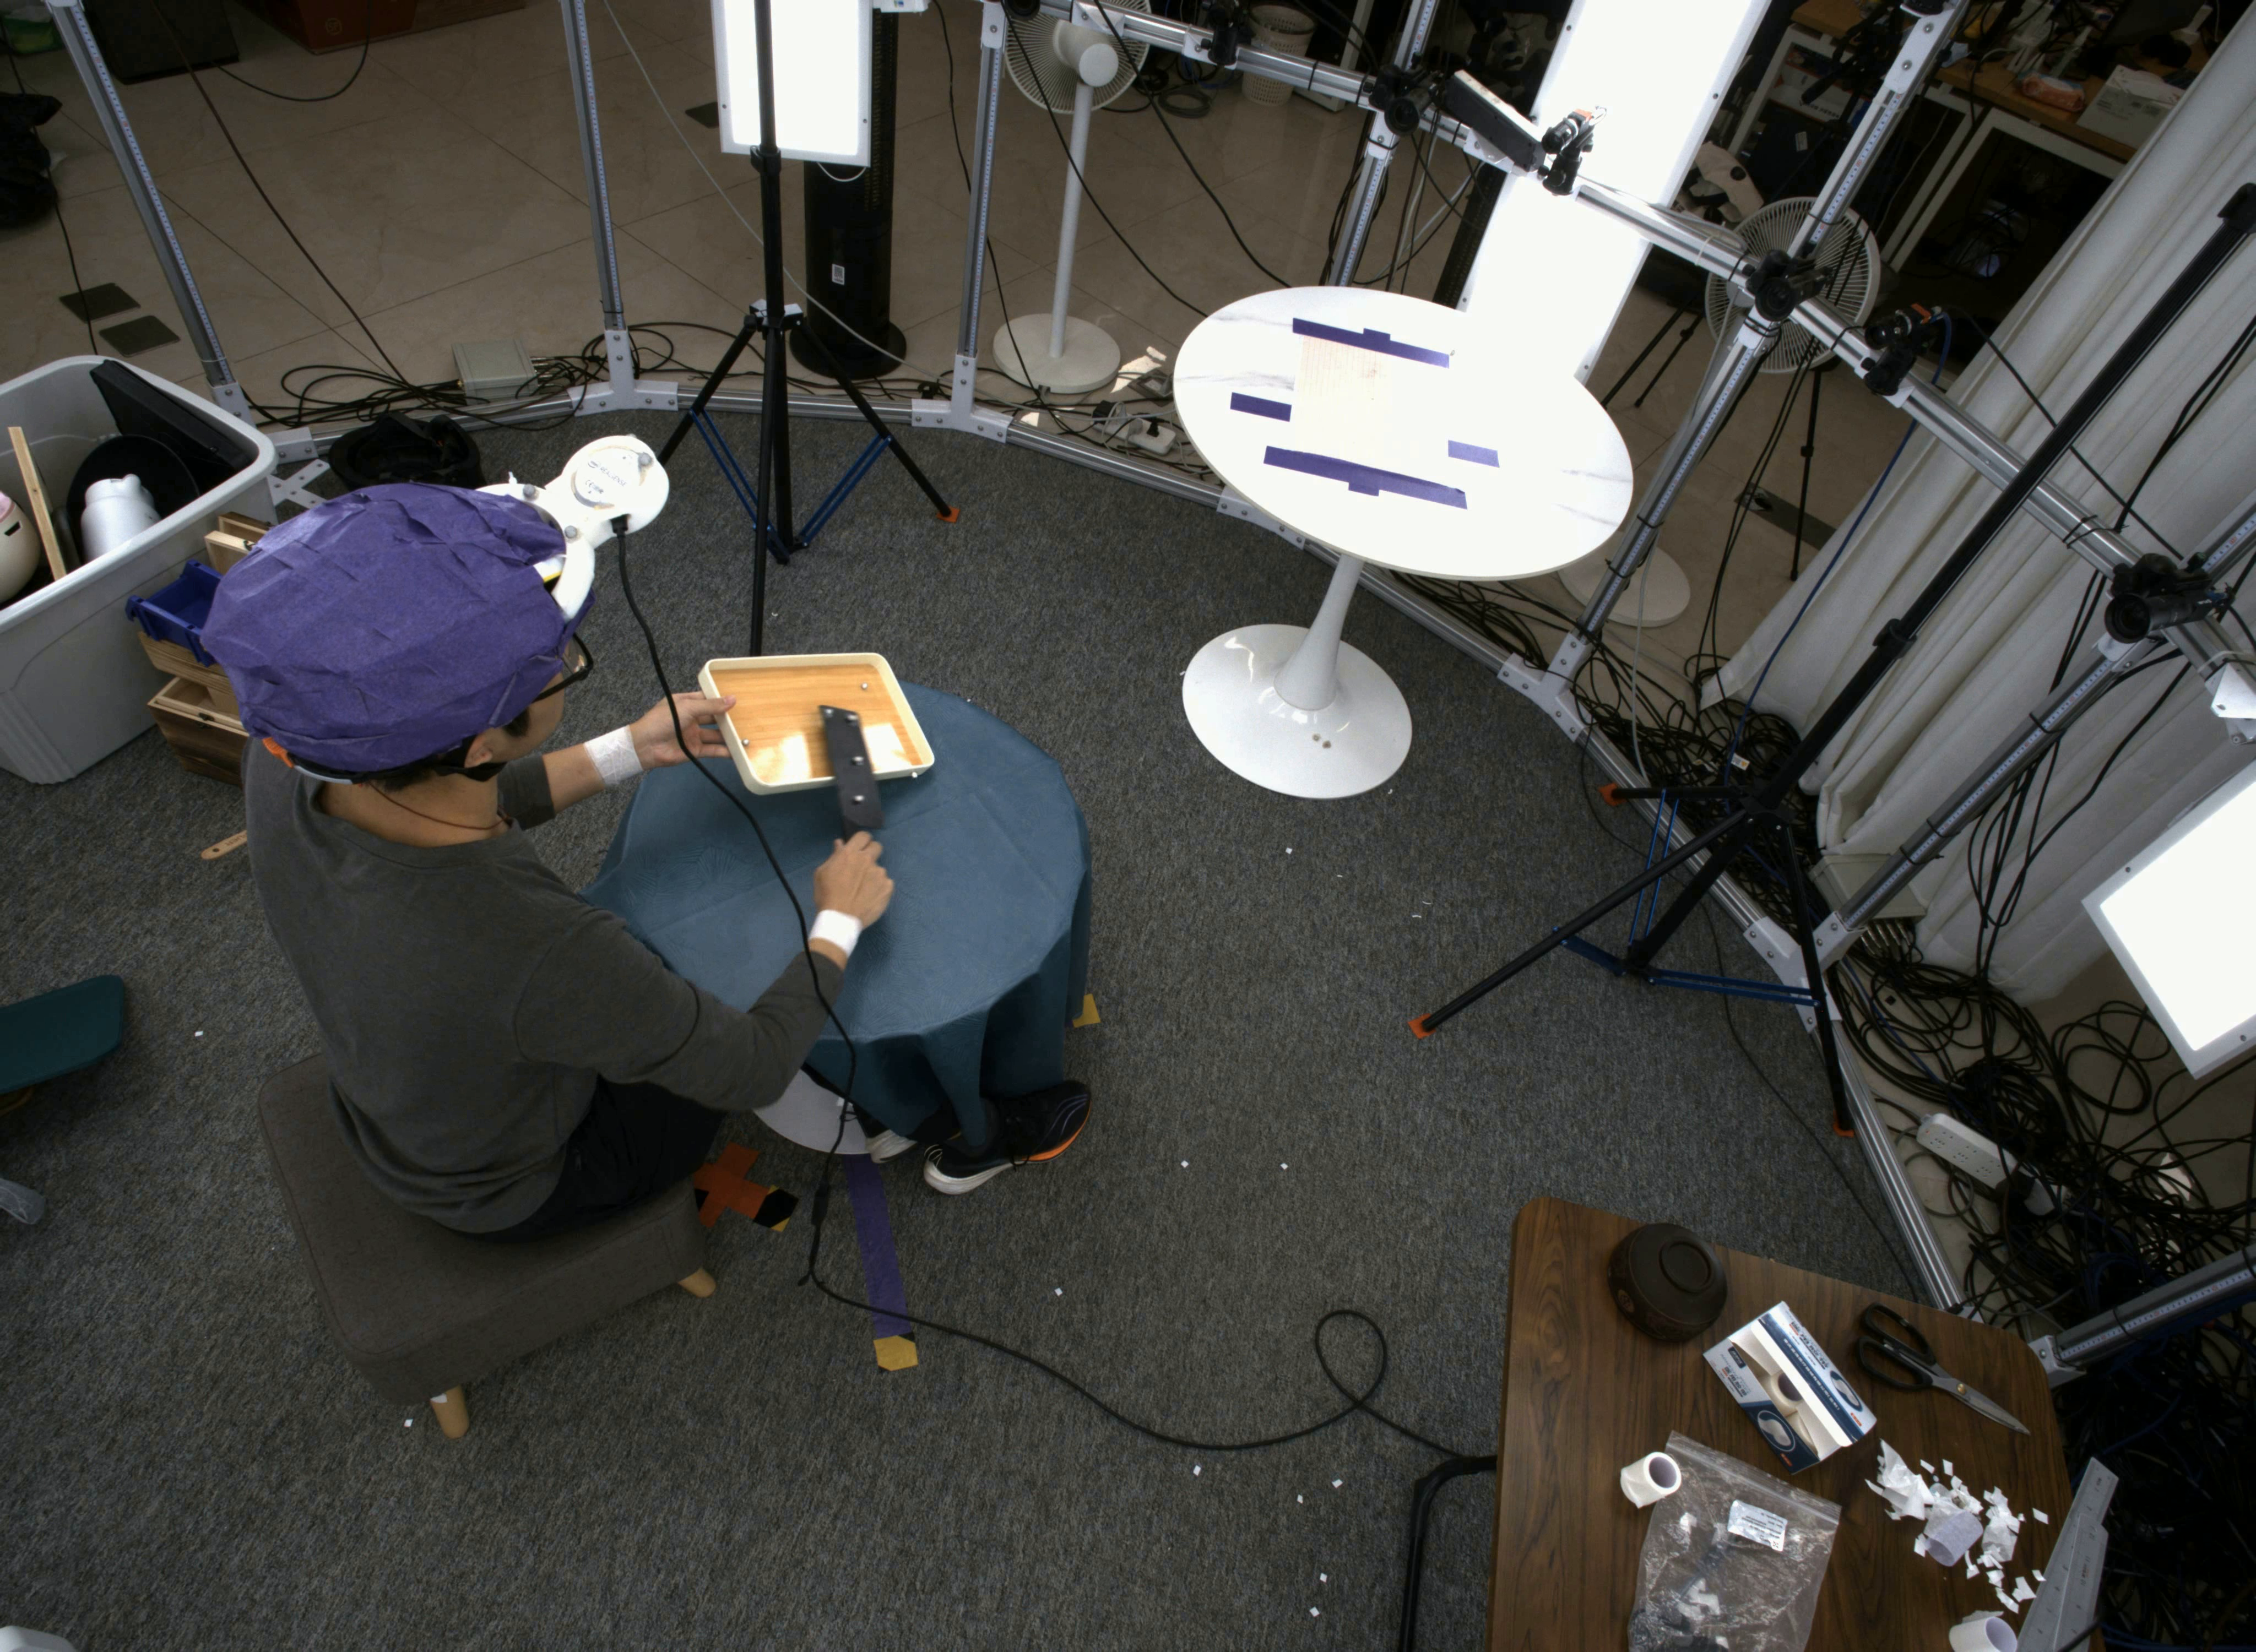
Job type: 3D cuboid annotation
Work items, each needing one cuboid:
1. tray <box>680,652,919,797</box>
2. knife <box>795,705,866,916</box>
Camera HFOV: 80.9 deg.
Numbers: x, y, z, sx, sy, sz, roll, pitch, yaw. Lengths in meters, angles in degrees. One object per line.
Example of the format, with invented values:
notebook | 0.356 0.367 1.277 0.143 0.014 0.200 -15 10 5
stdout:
tray | -0.430 -0.141 1.717 0.305 0.027 0.190 -13 71 -51
knife | -0.374 -0.025 1.664 0.083 0.020 0.297 11 55 -46
